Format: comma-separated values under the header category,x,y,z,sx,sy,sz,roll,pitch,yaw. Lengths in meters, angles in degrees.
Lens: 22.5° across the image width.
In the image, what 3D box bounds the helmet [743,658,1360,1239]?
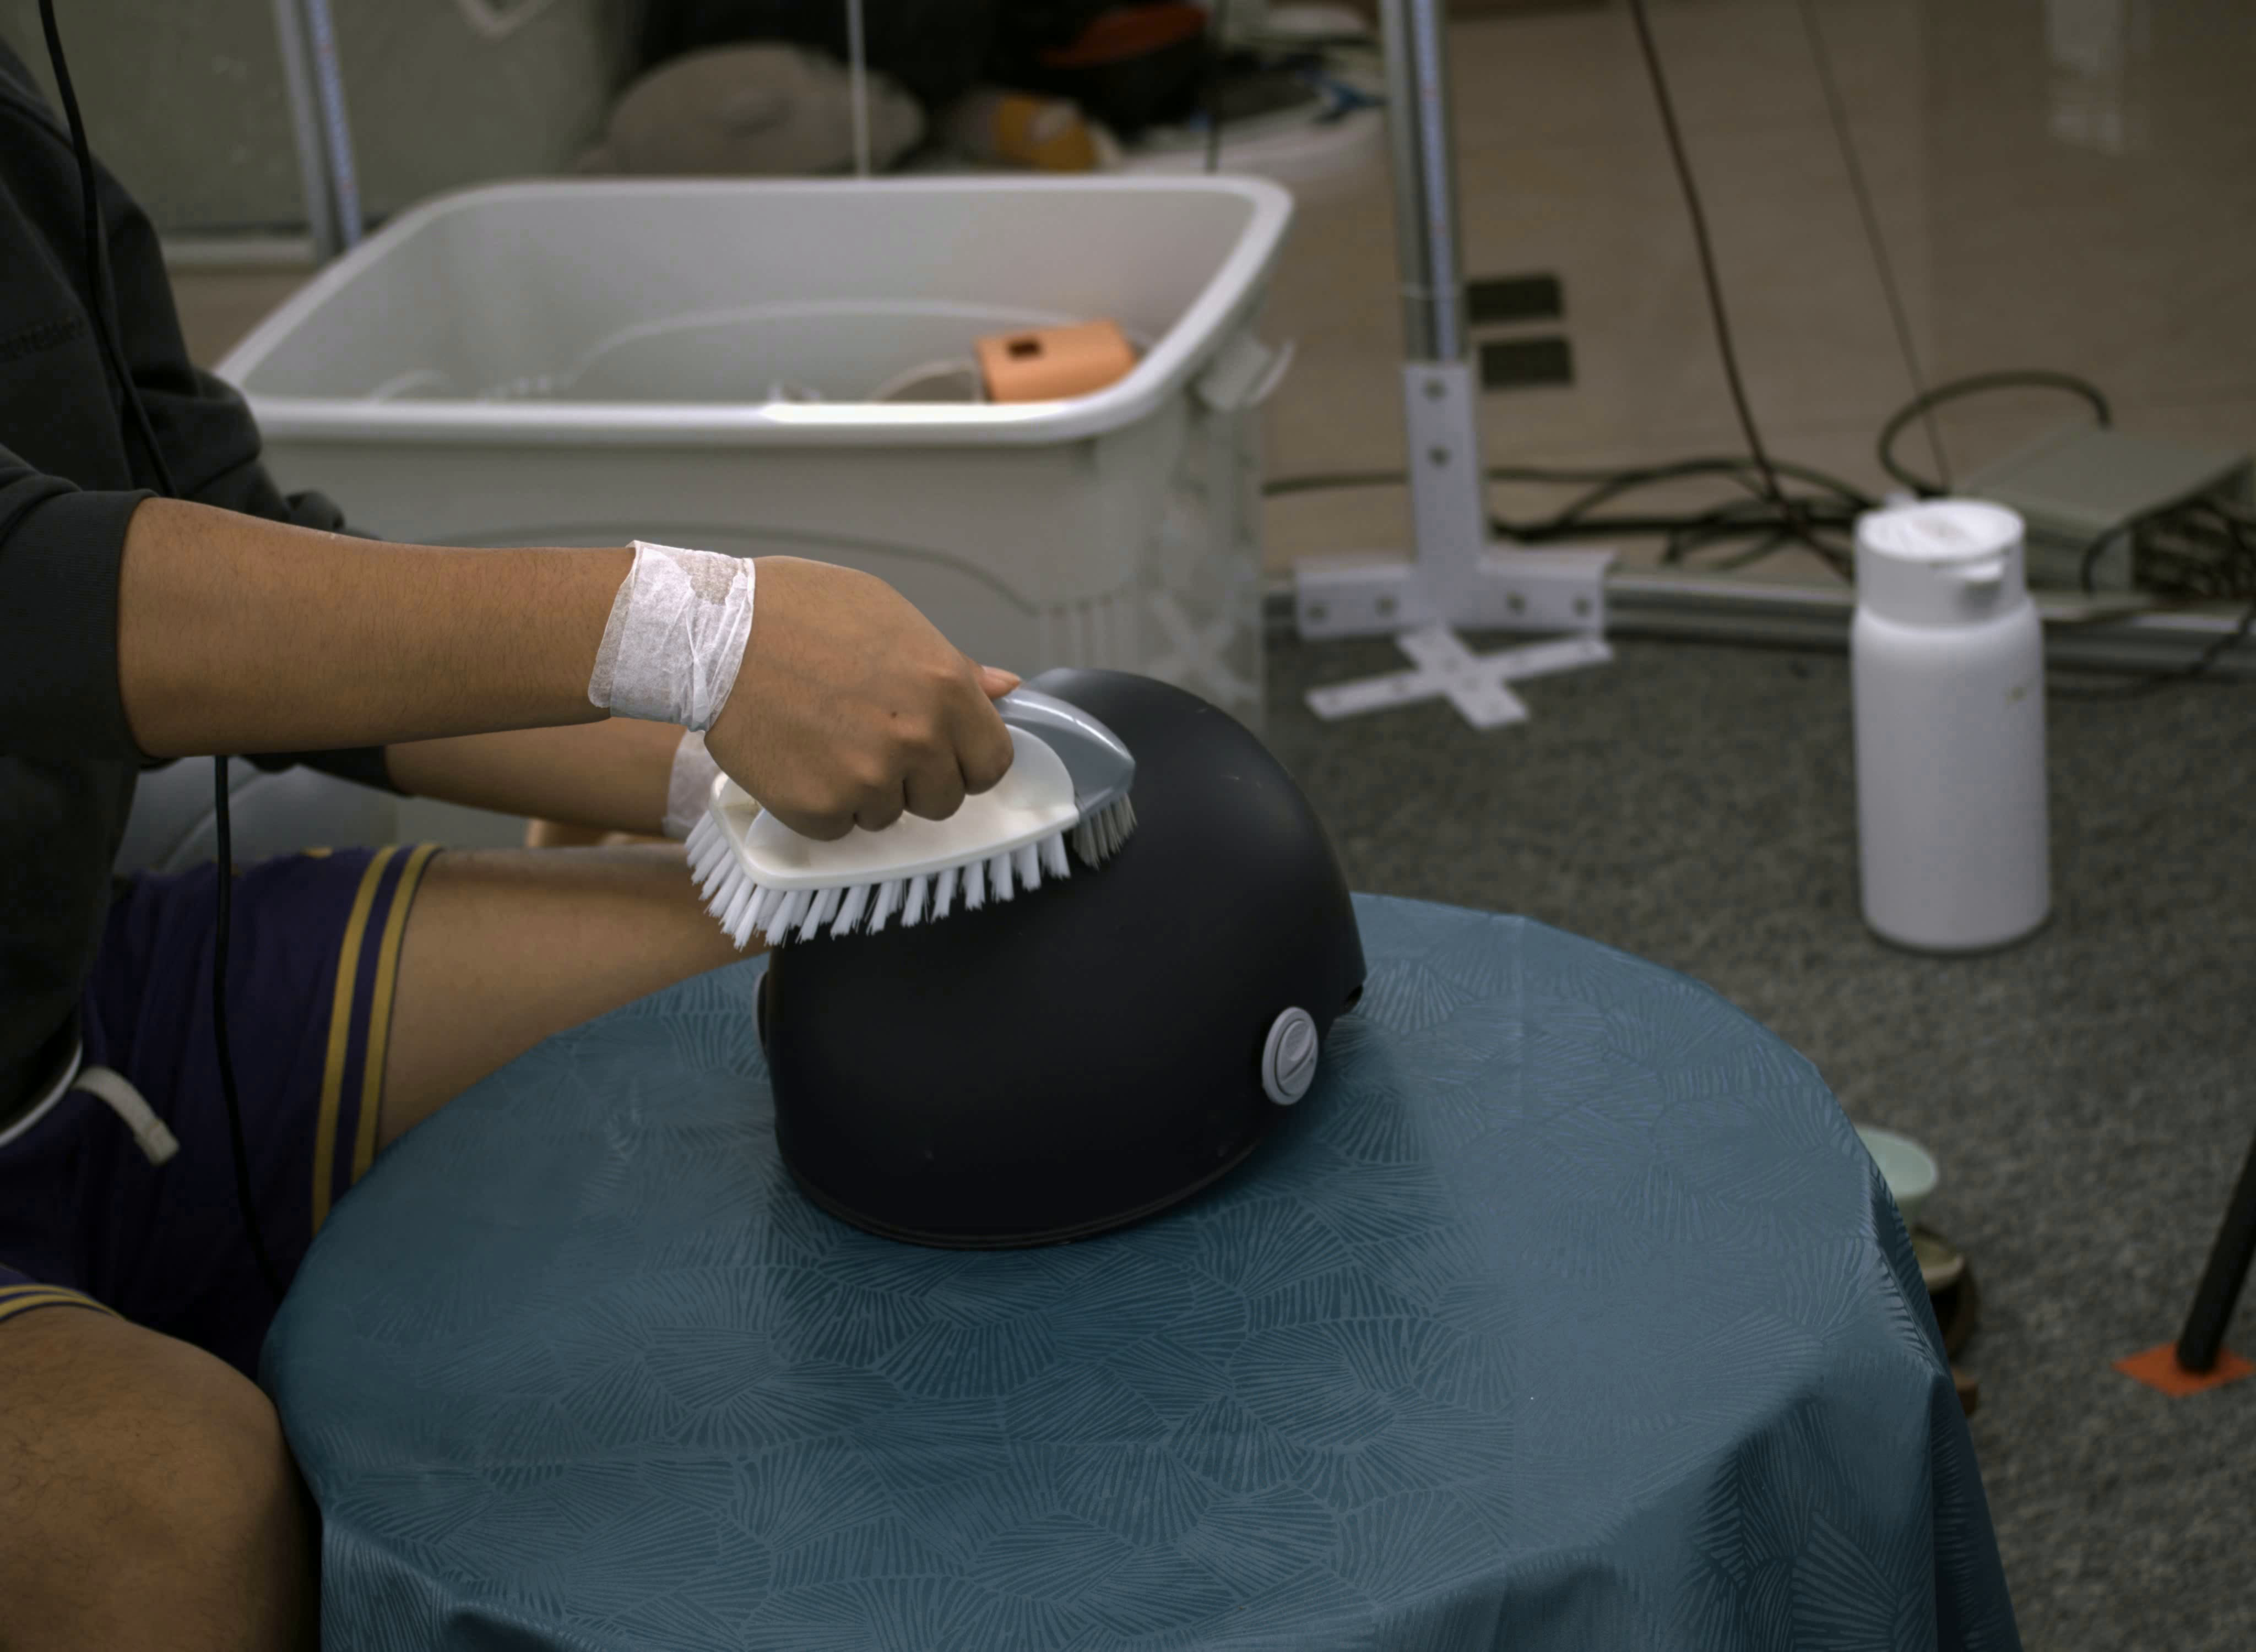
category,x,y,z,sx,sy,sz,roll,pitch,yaw
helmet,-0.034,0.030,2.197,0.229,0.169,0.269,4,29,23

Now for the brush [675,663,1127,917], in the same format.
category,x,y,z,sx,sy,sz,roll,pitch,yaw
brush,-0.070,-0.022,2.045,0.175,0.096,0.060,-4,48,-30
